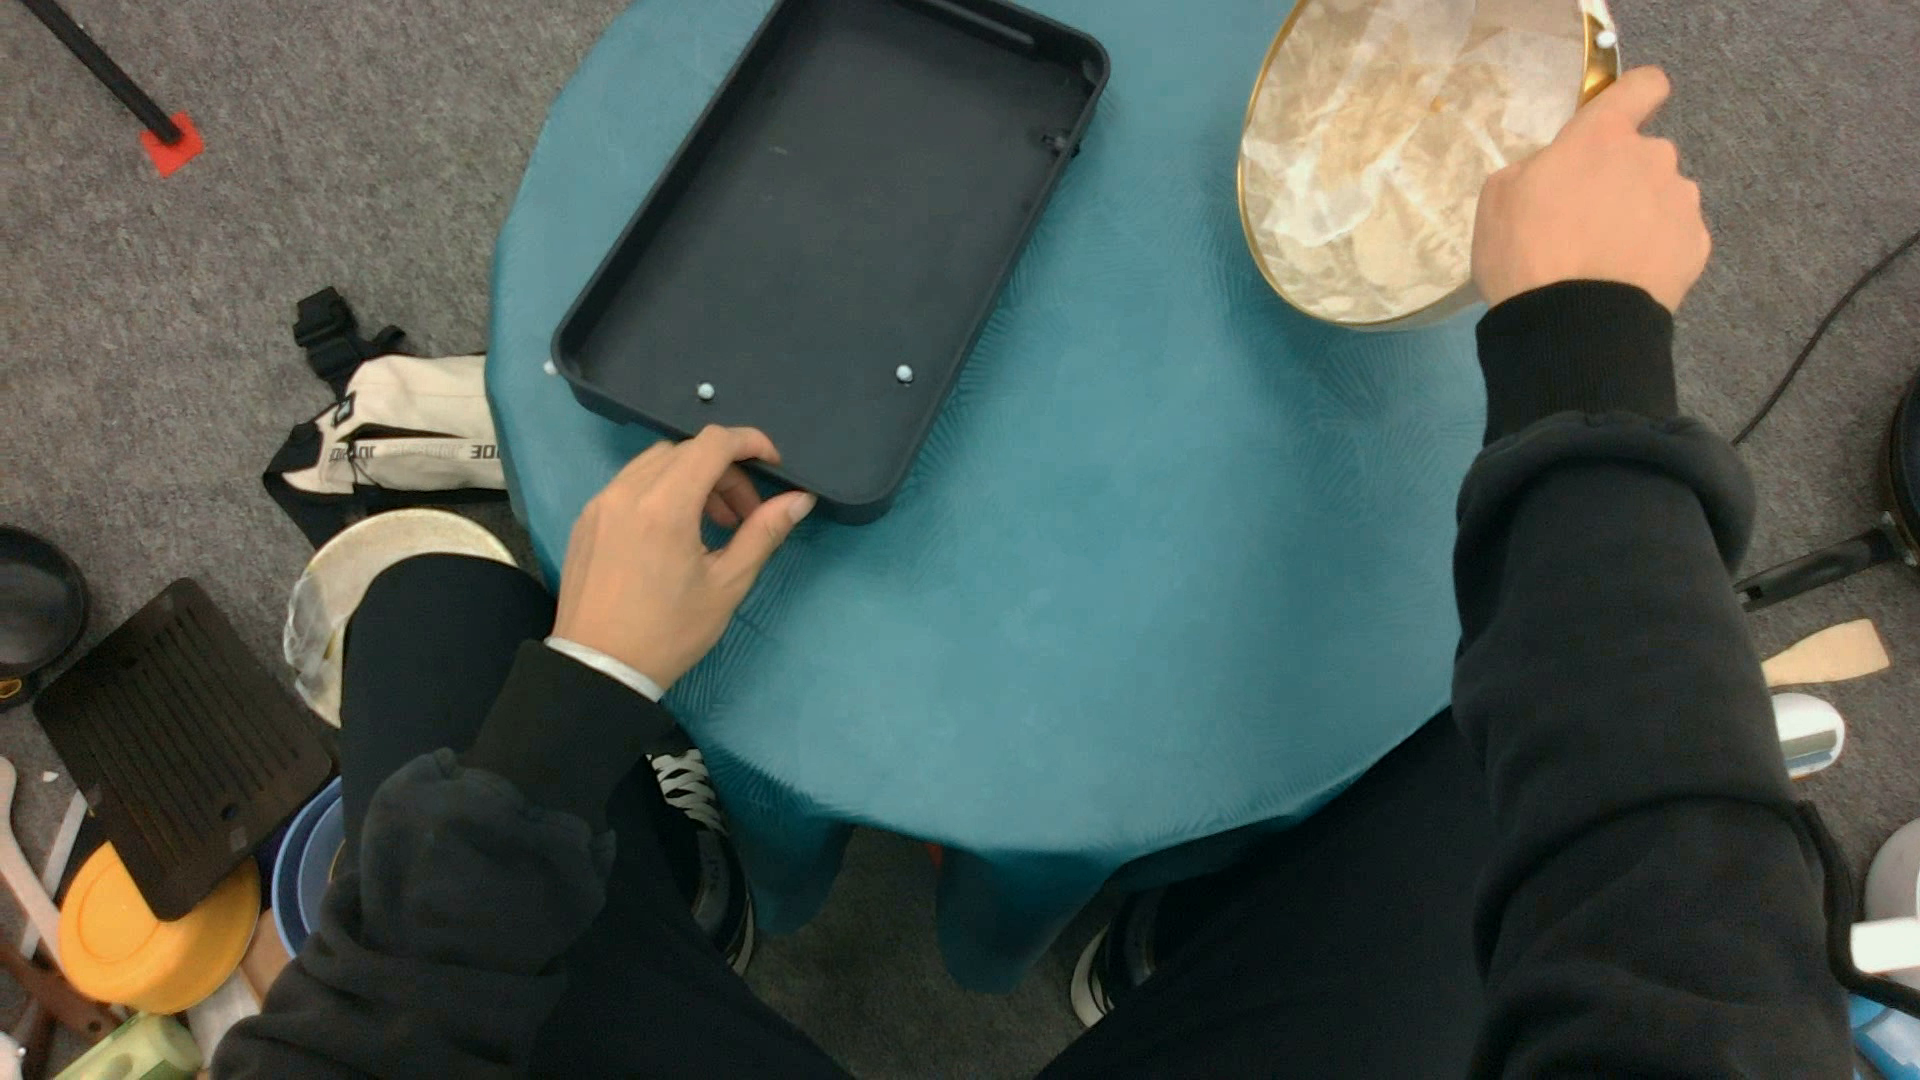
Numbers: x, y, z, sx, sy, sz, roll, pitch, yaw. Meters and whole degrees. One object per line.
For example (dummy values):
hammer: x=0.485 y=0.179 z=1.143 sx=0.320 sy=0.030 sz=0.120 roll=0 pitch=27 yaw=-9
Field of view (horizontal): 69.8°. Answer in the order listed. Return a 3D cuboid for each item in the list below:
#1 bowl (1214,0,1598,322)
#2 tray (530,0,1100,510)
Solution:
bowl: x=0.232 y=-0.205 z=0.696 sx=0.095 sy=0.214 sz=0.215 roll=4 pitch=70 yaw=-37
tray: x=-0.066 y=-0.178 z=0.727 sx=0.184 sy=0.037 sz=0.319 roll=25 pitch=66 yaw=5
